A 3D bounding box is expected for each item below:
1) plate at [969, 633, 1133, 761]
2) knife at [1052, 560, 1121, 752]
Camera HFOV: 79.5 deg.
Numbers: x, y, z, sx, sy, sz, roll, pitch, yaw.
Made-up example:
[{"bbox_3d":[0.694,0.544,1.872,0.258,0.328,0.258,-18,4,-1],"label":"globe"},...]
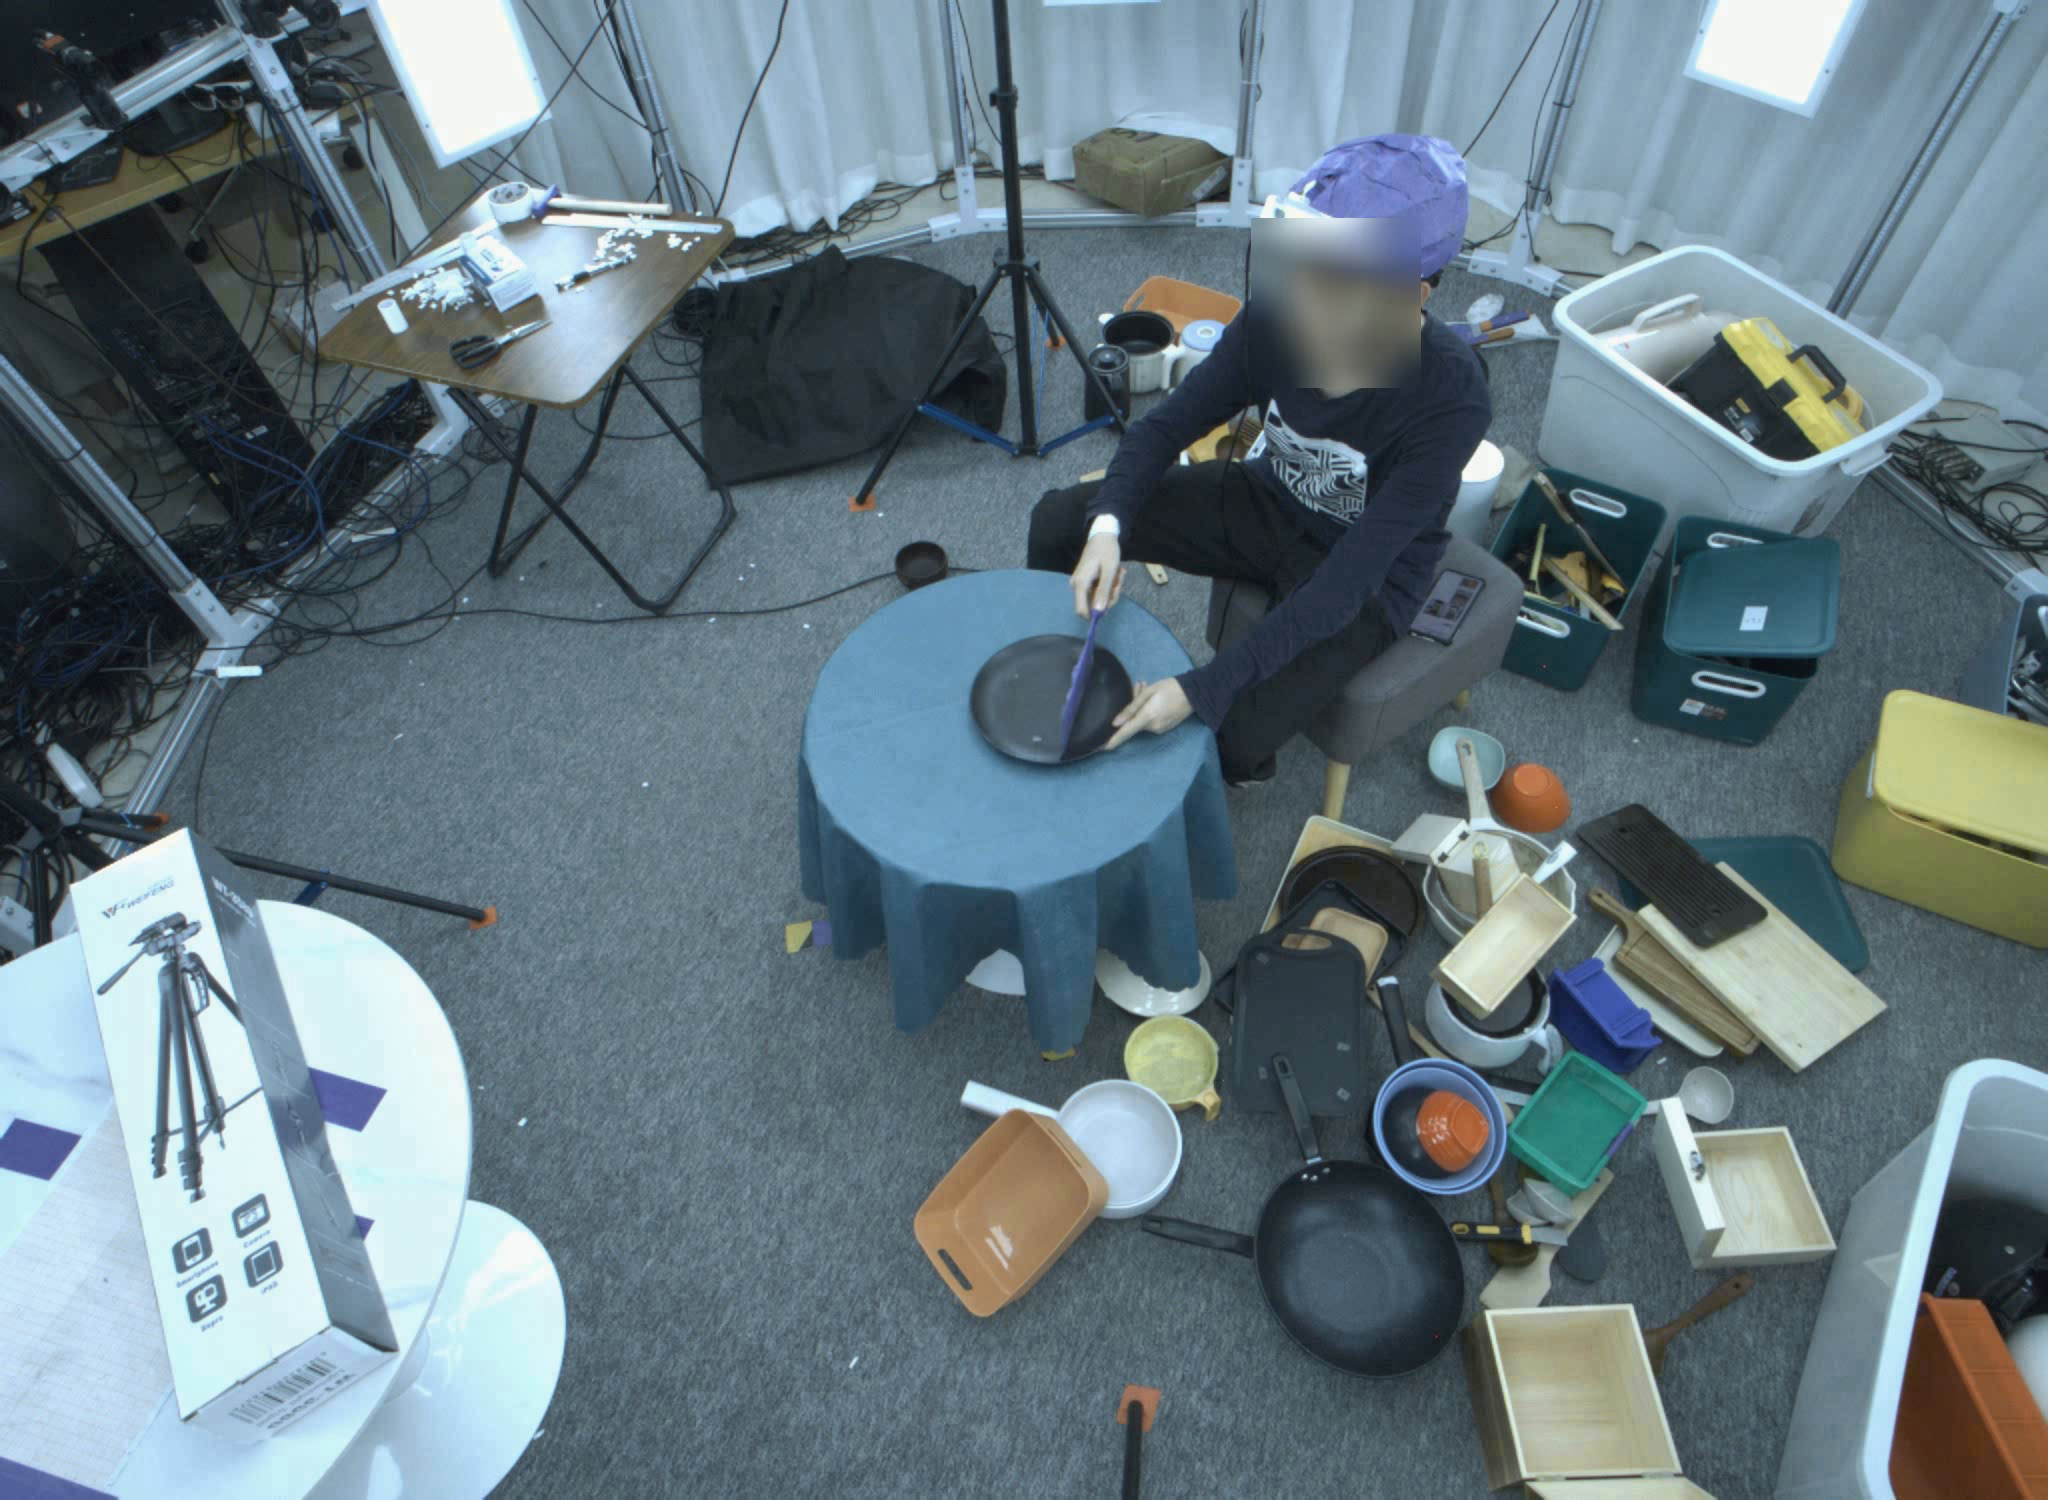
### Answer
[{"bbox_3d":[0.041,-0.077,1.833,0.244,0.024,0.242,-1,54,2],"label":"plate"},{"bbox_3d":[0.088,-0.141,1.809,0.032,0.105,0.314,15,57,8],"label":"knife"}]
